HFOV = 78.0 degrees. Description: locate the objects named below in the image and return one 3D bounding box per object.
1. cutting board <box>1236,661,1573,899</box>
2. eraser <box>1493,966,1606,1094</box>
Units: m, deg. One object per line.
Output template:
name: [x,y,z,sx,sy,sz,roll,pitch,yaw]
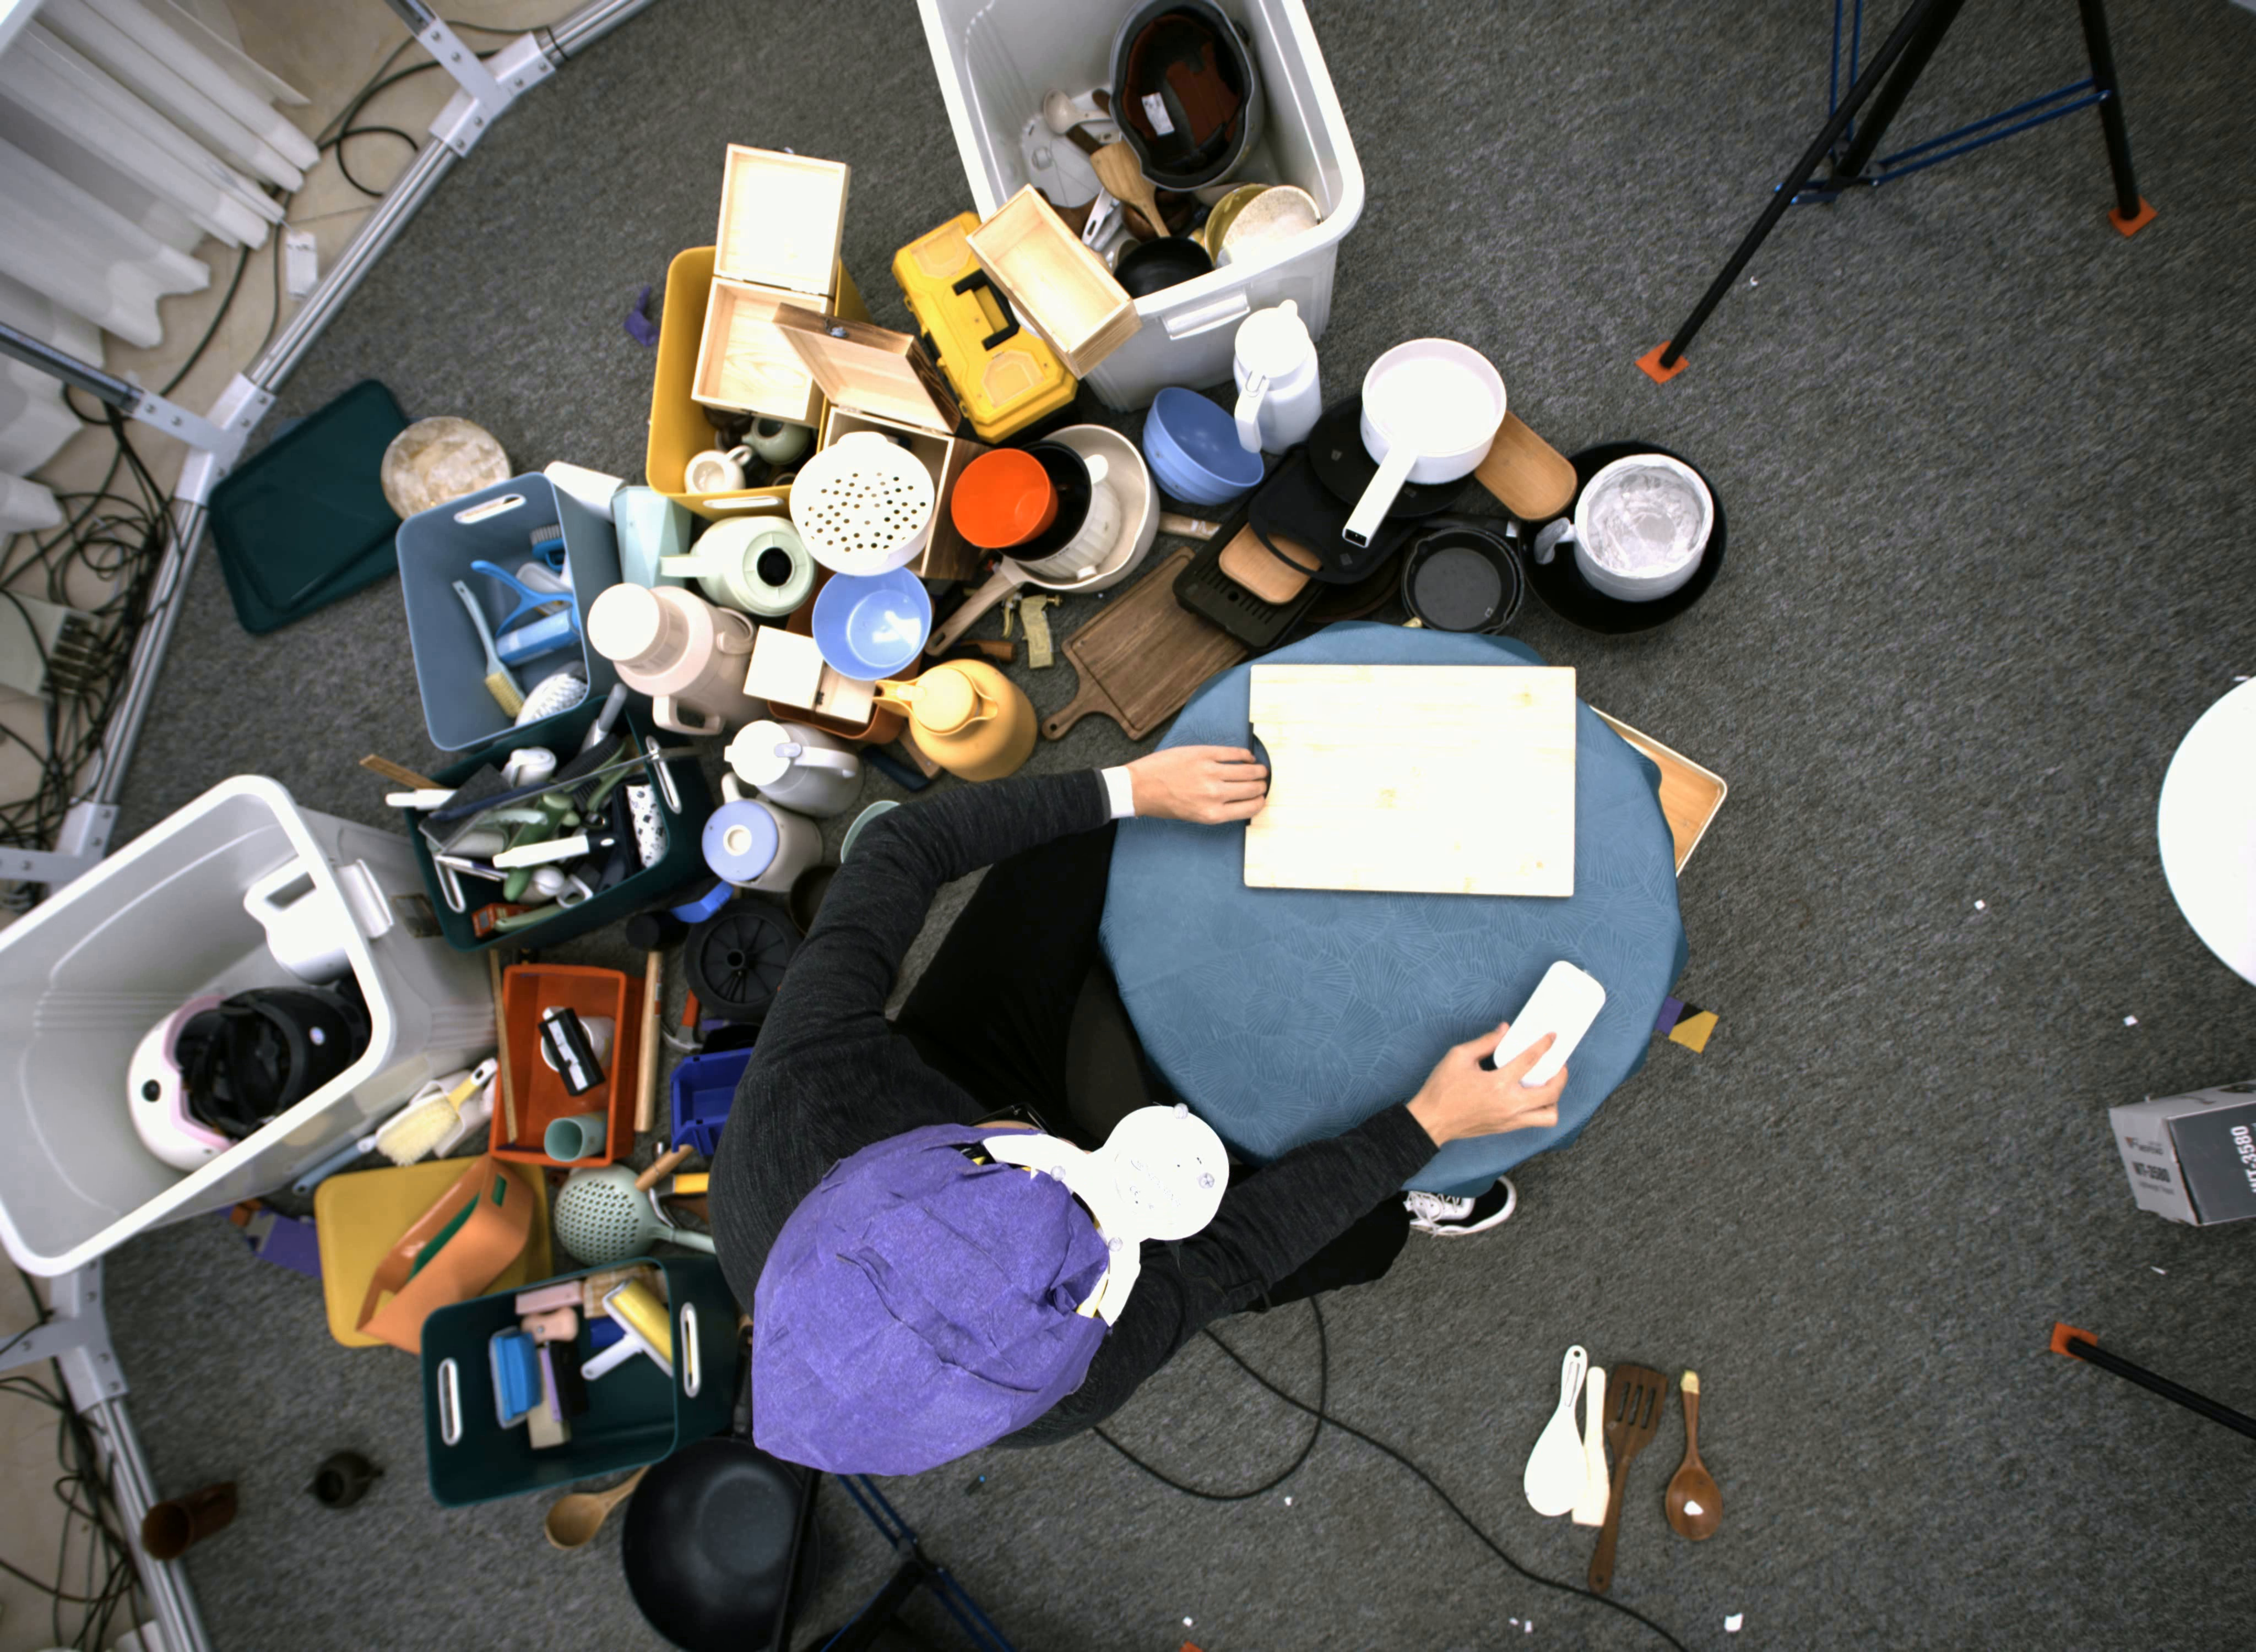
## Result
cutting board: [0.290,-0.053,1.455,0.350,0.023,0.249,1,87,11]
eraser: [0.426,0.203,1.395,0.063,0.035,0.130,38,83,9]
